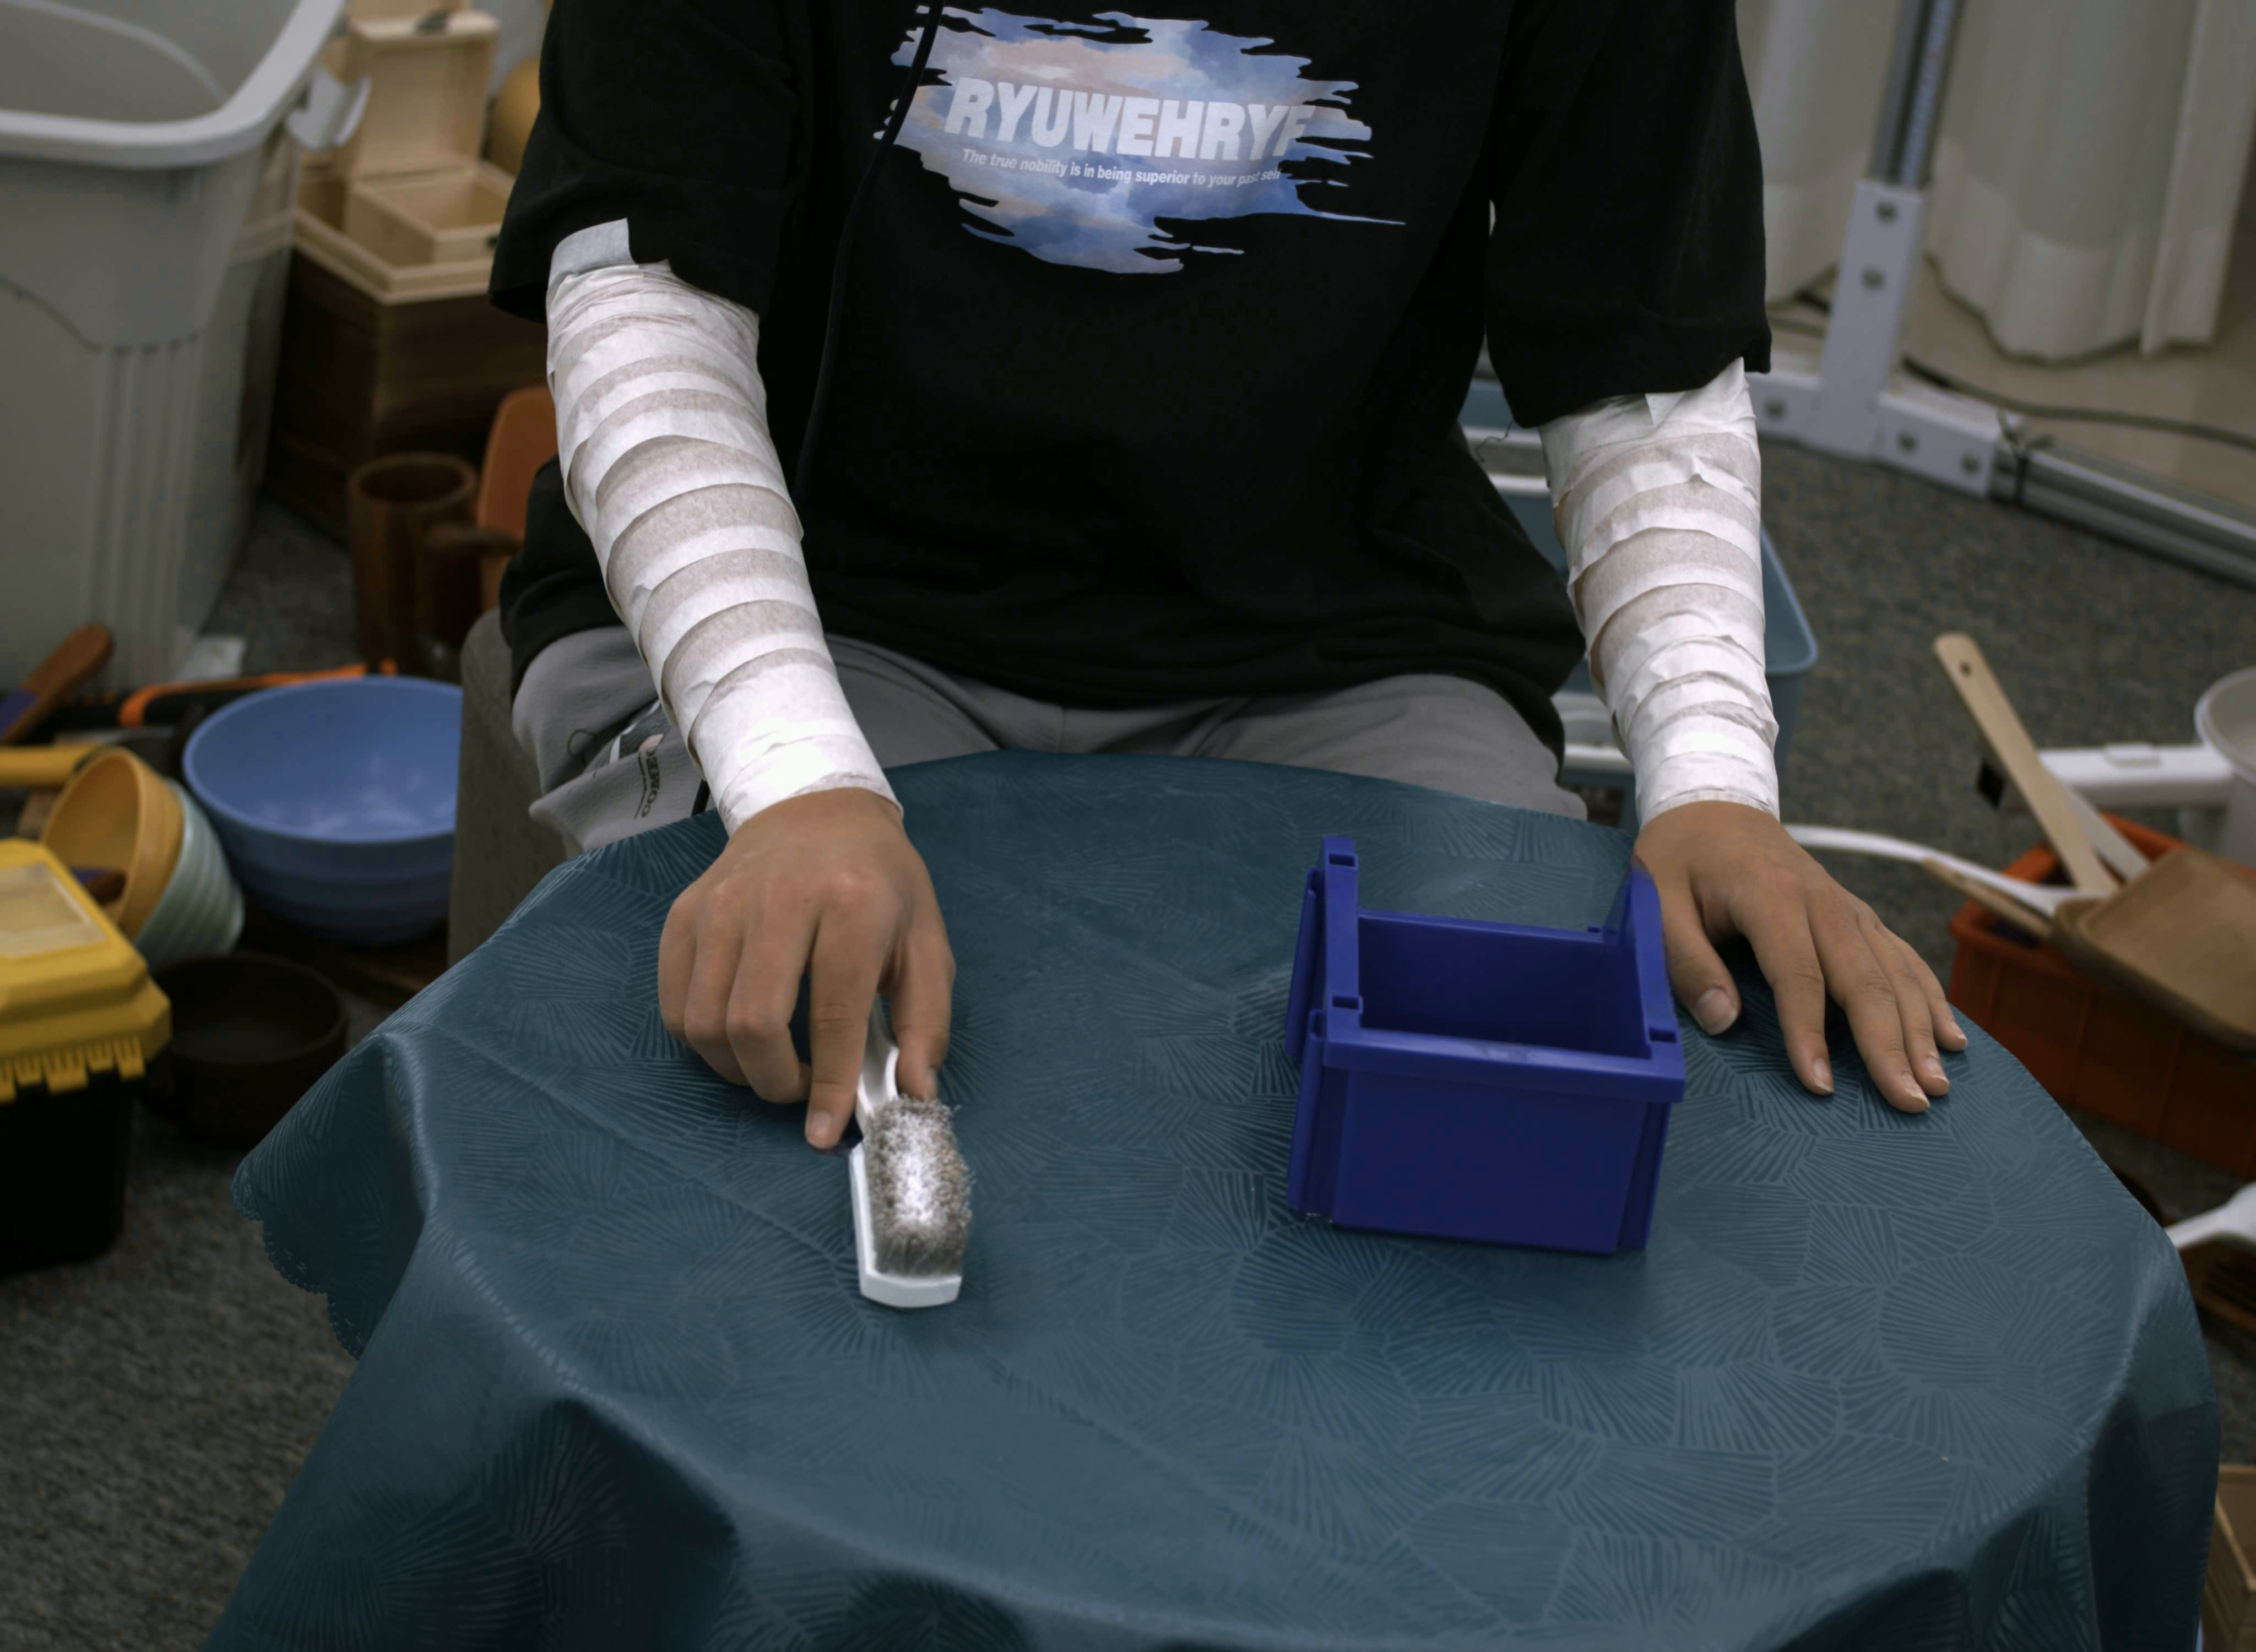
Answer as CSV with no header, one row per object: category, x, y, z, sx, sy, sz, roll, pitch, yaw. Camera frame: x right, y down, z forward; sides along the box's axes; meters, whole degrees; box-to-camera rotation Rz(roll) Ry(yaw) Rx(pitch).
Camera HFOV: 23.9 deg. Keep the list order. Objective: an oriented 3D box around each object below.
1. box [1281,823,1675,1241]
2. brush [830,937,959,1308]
box,0.120,0.067,1.855,0.124,0.081,0.180,6,28,0
brush,-0.082,0.083,1.810,0.034,0.050,0.245,4,27,-8
